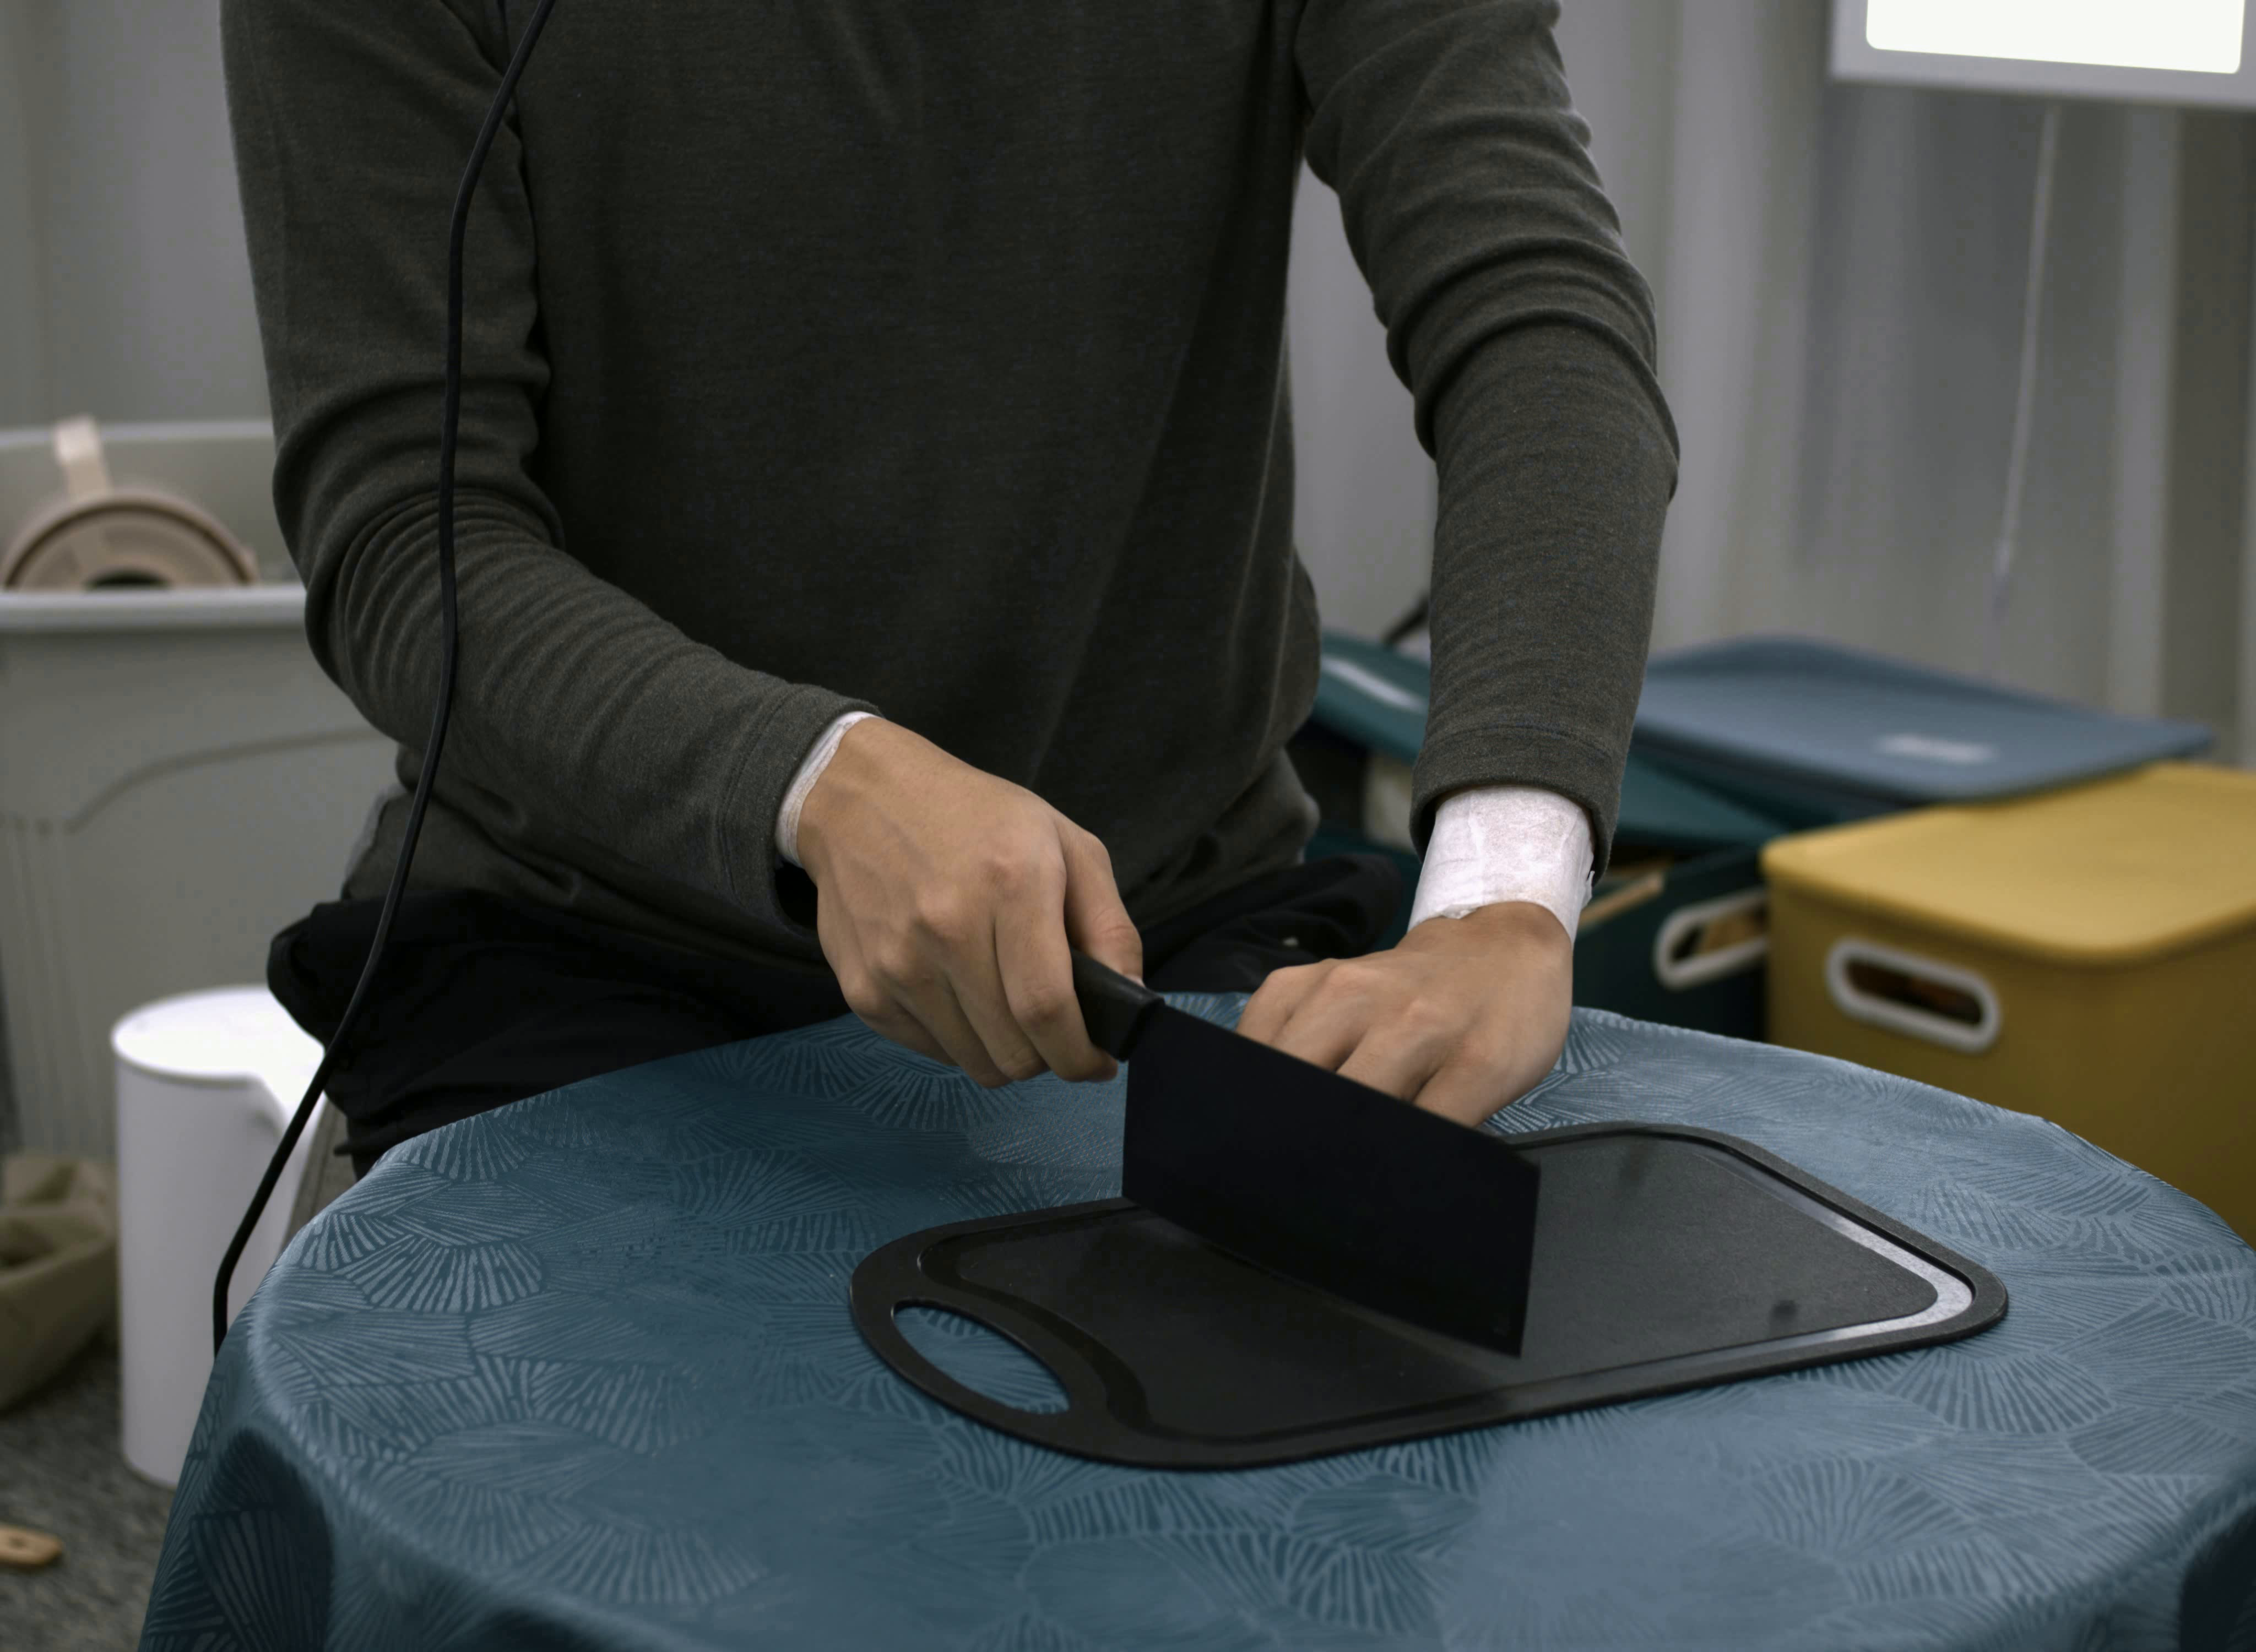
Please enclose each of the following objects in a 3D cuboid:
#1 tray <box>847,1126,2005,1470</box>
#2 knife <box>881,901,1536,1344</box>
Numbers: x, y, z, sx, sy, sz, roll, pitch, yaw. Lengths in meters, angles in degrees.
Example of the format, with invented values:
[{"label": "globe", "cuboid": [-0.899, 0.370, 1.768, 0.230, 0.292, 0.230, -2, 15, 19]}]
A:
[{"label": "tray", "cuboid": [0.081, 0.134, 1.540, 0.326, 0.010, 0.208, -7, 16, -25]}, {"label": "knife", "cuboid": [0.019, 0.081, 1.565, 0.021, 0.081, 0.298, -6, 21, -39]}]
